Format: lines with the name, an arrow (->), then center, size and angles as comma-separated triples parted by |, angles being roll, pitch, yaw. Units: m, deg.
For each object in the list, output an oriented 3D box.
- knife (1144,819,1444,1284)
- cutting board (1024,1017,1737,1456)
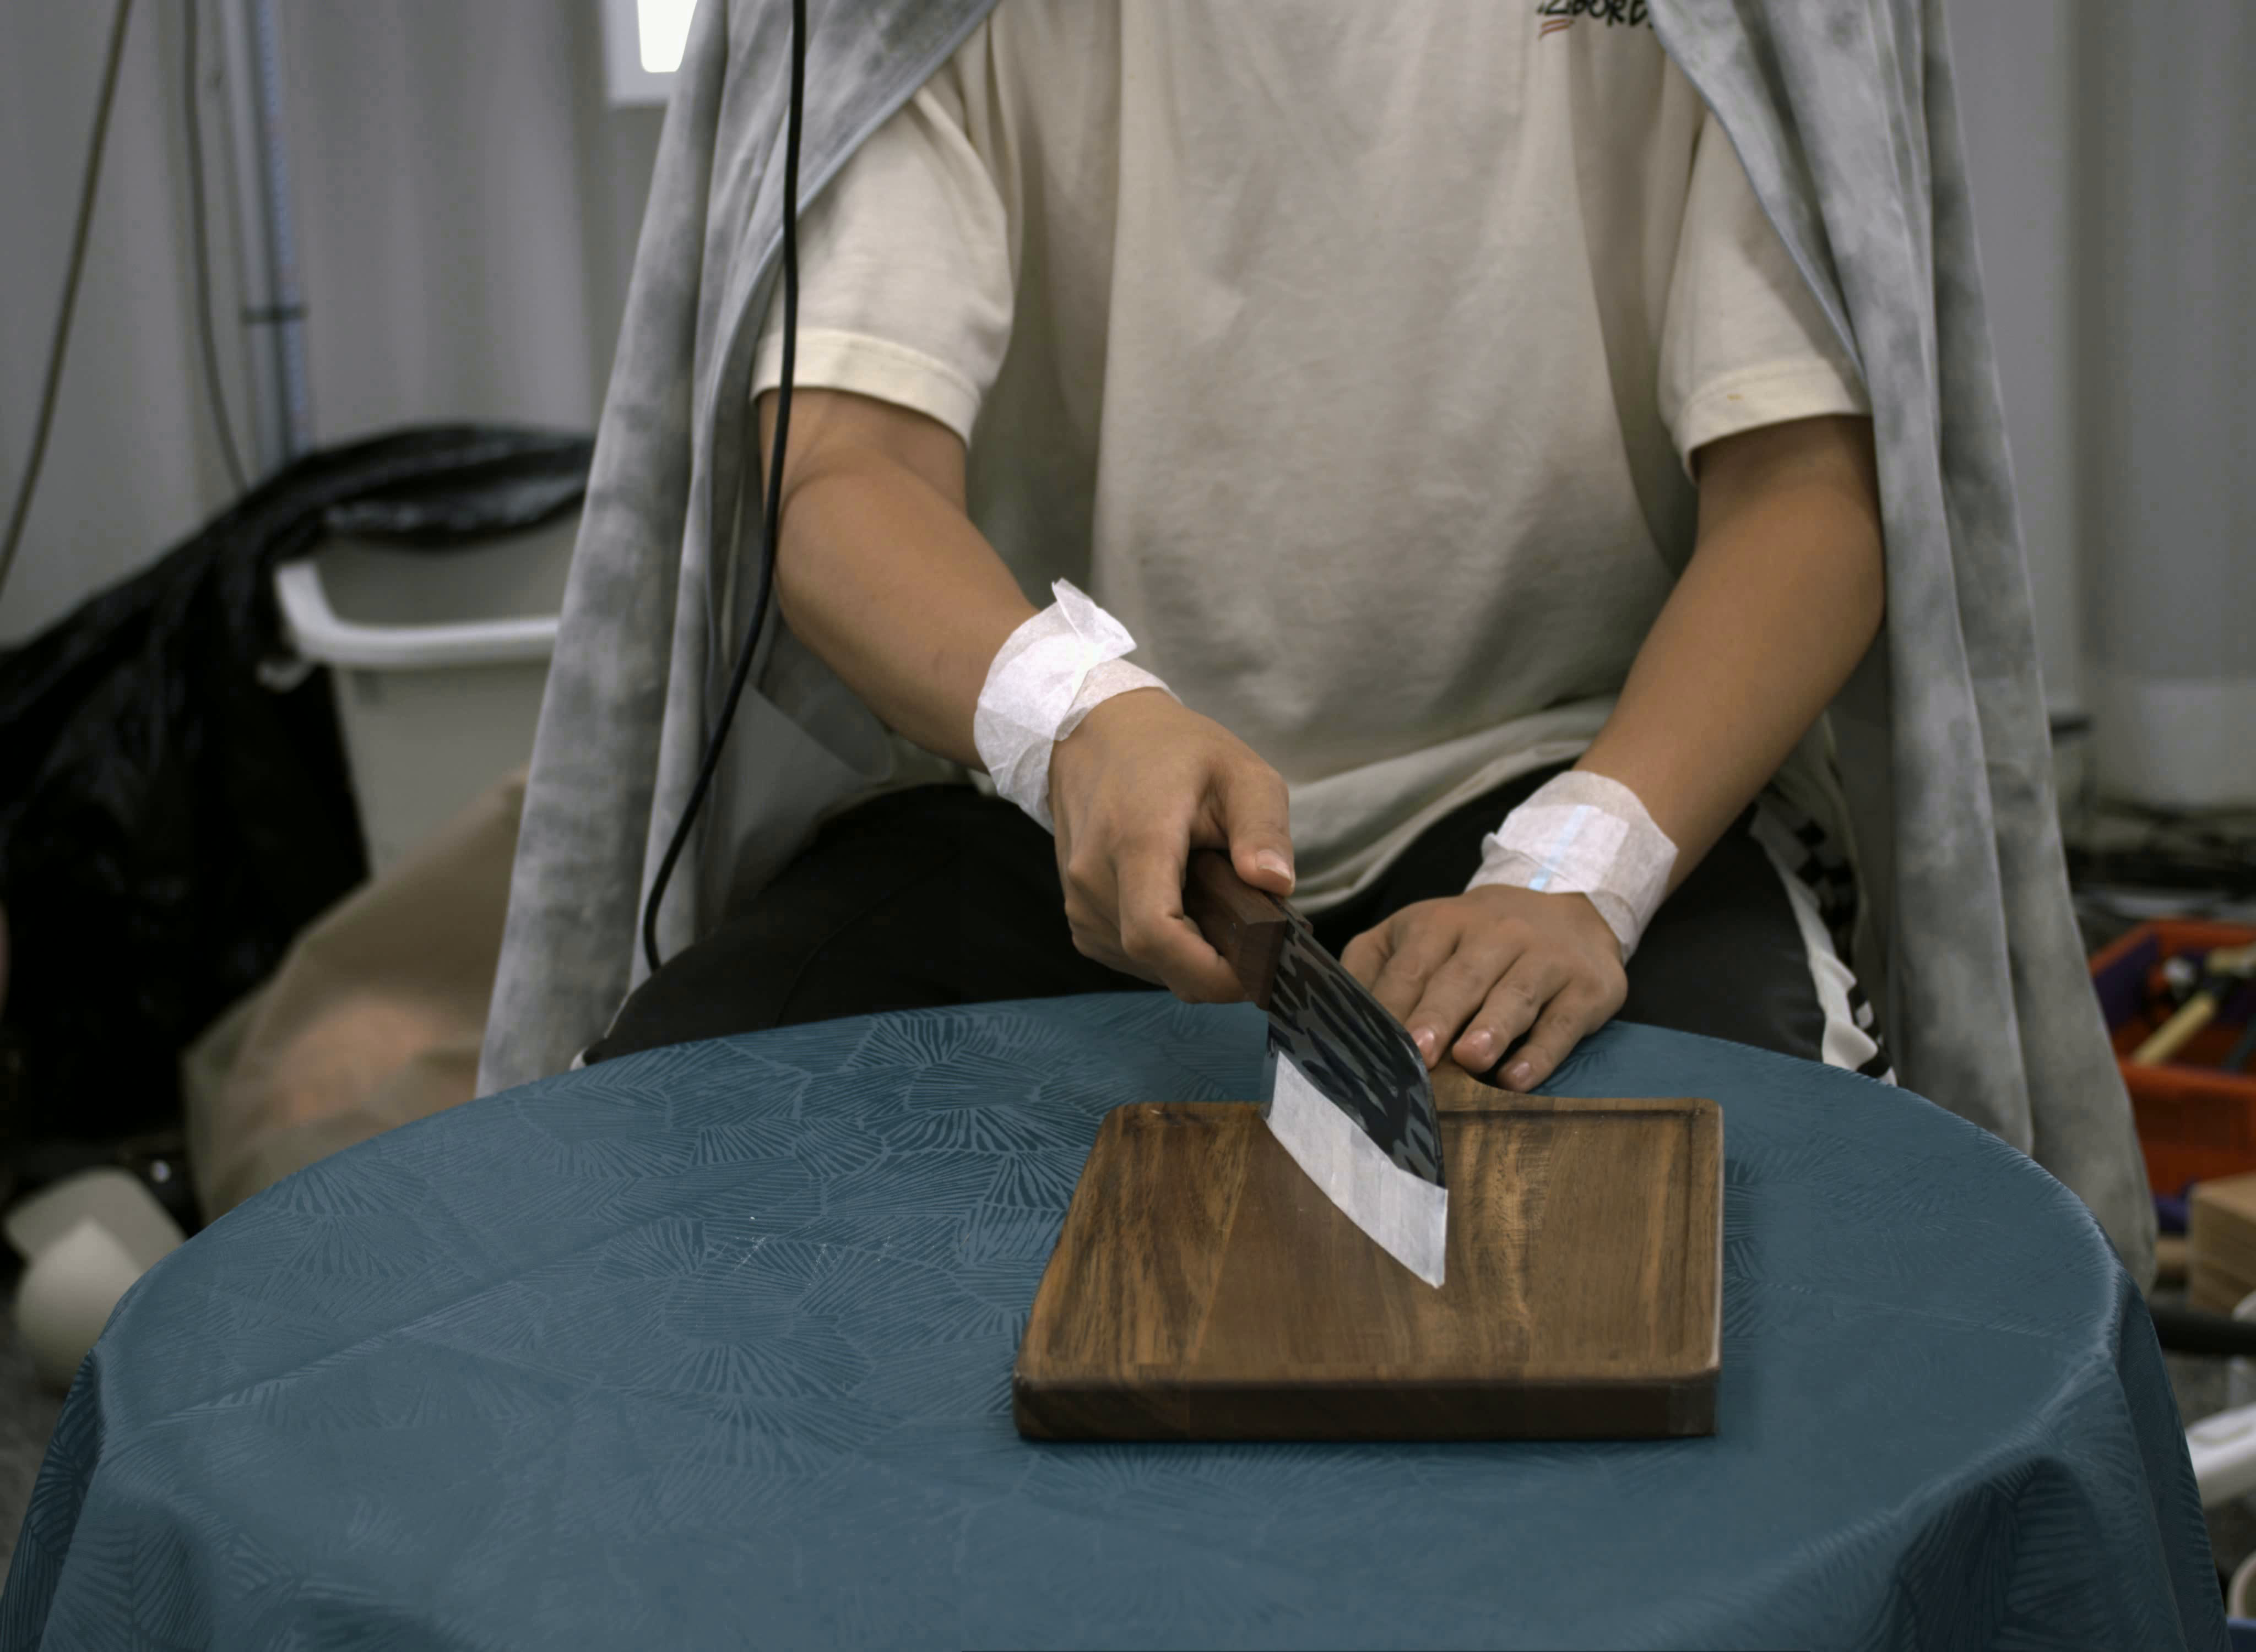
knife -> 0.052, 0.066, 1.692 | 0.024, 0.068, 0.302 | 3, 16, -17
cutting board -> 0.083, 0.117, 1.664 | 0.200, 0.023, 0.354 | -3, 14, 7
